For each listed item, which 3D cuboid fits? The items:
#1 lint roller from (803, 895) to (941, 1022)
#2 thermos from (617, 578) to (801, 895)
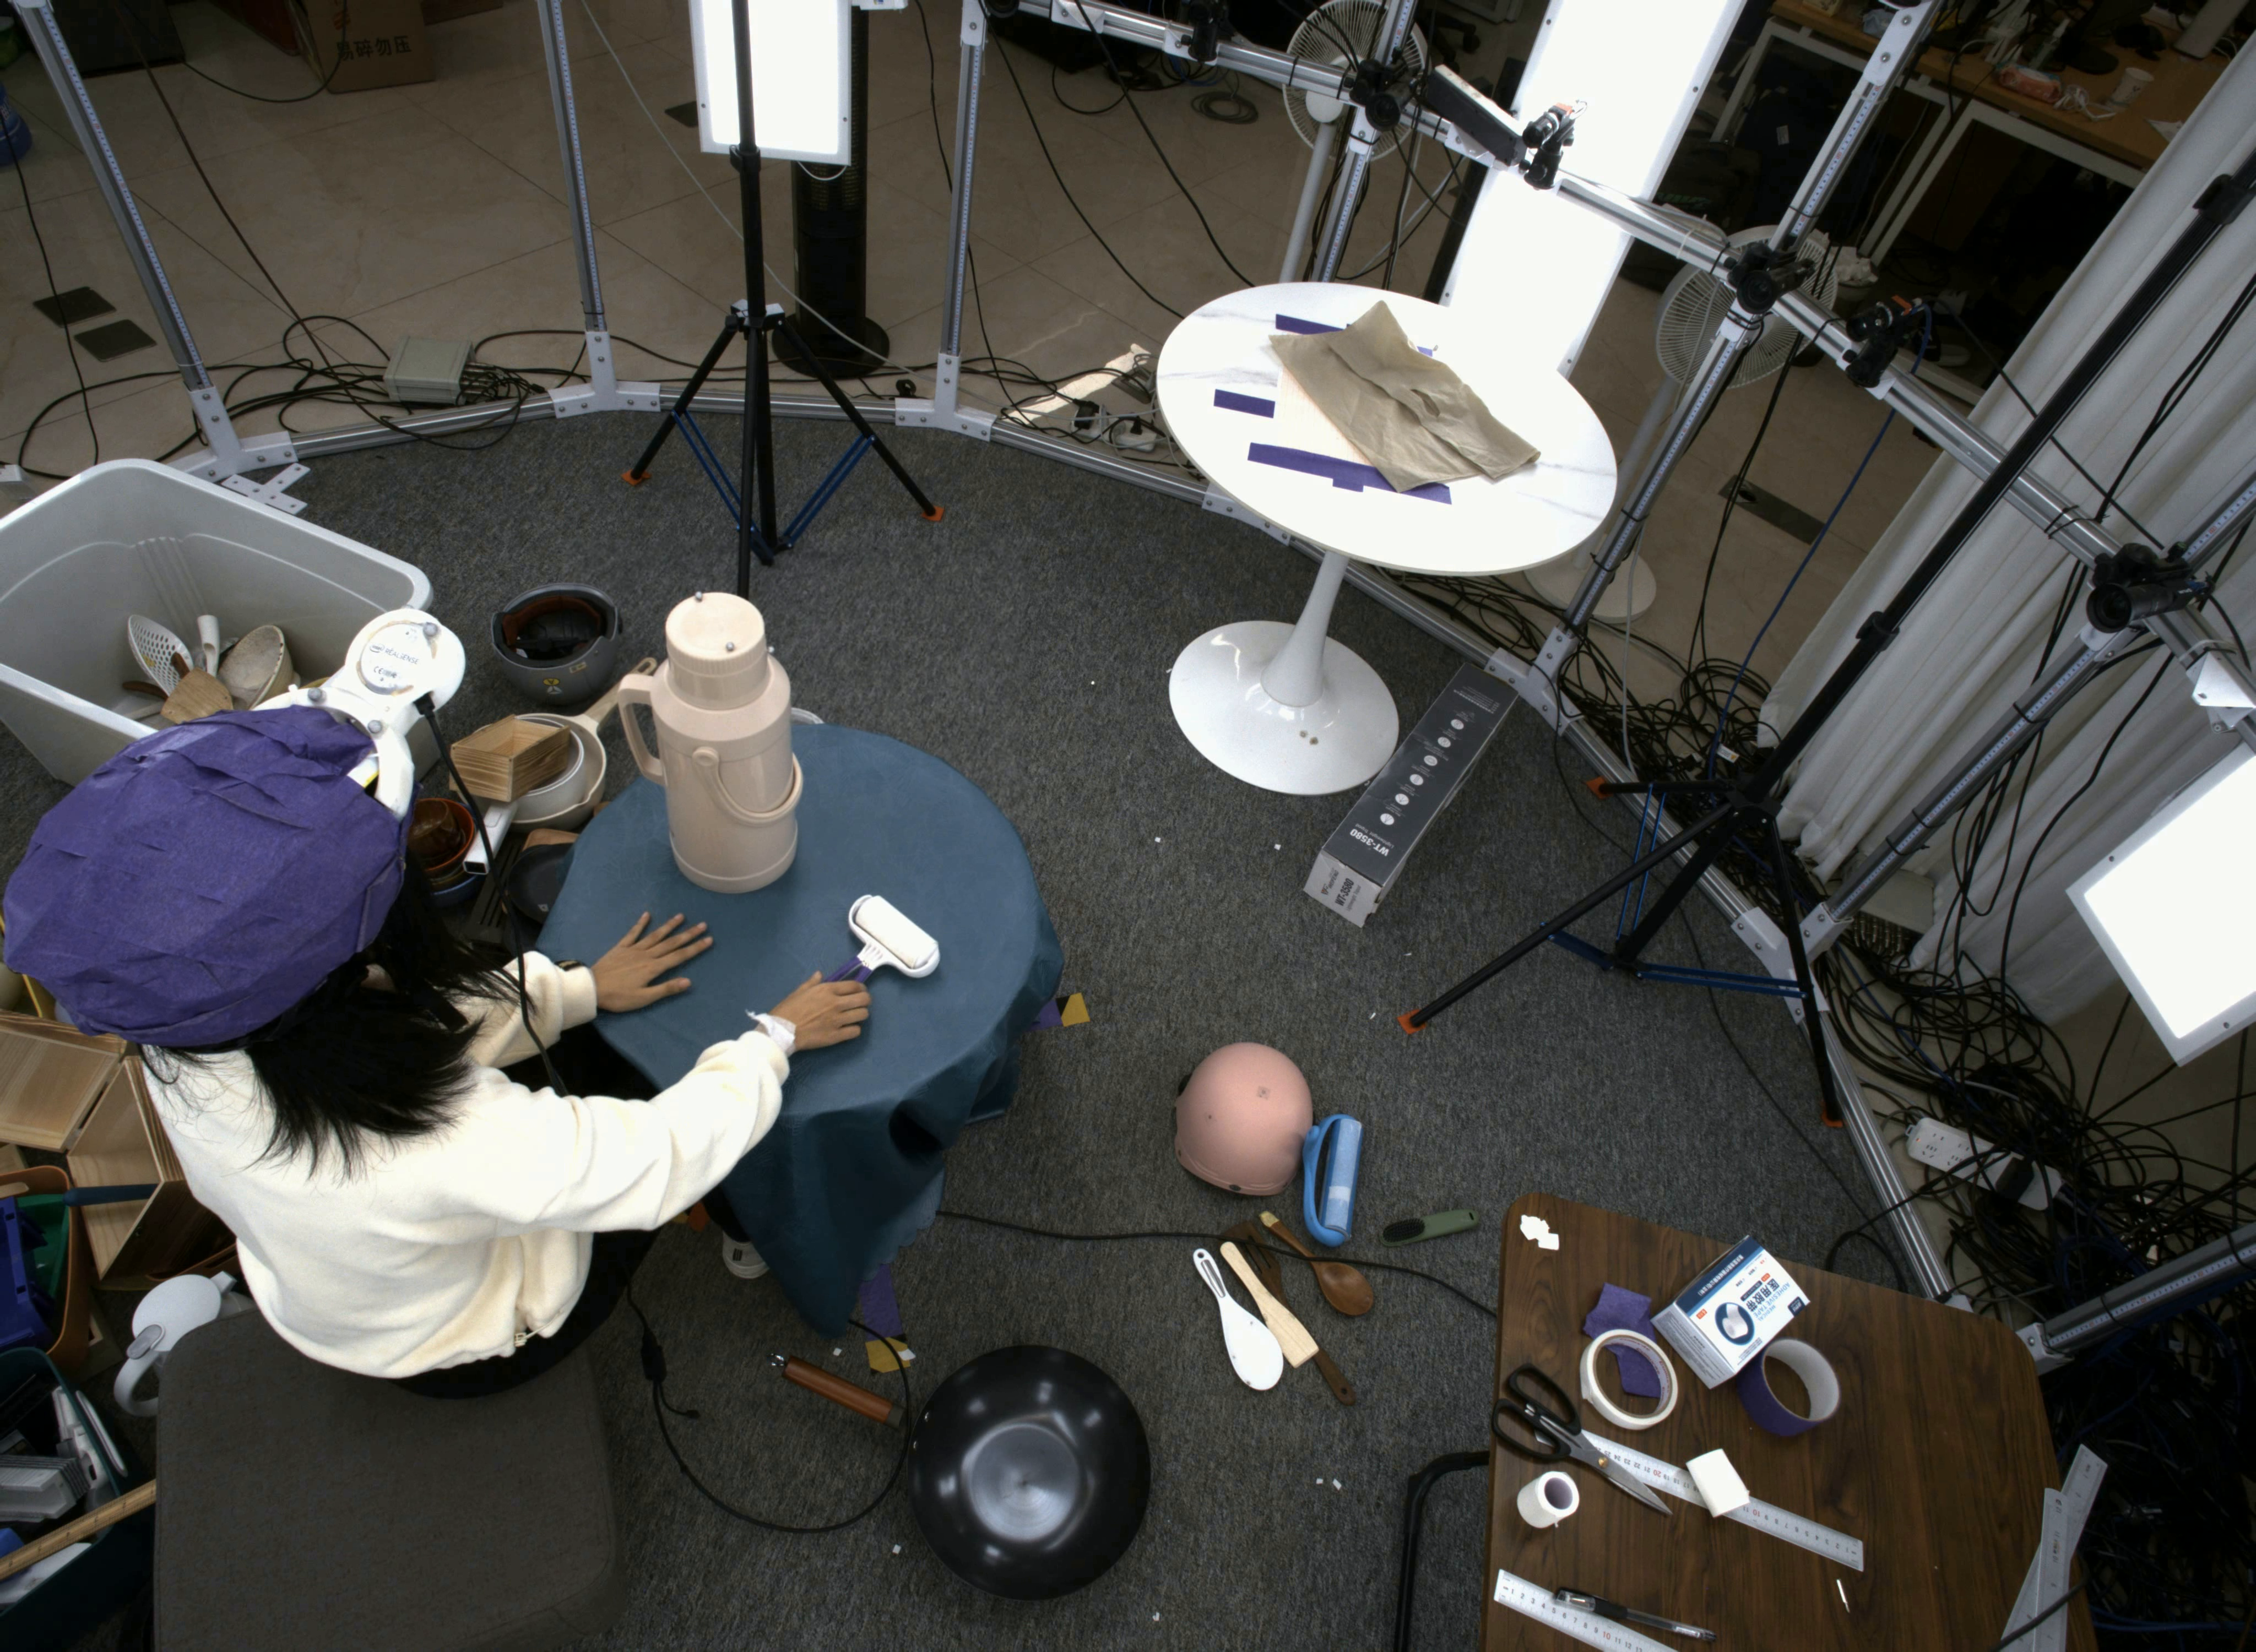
[{"bbox_3d":[-0.330,0.167,1.588,0.130,0.051,0.181,39,52,14],"label":"lint roller"},{"bbox_3d":[-0.493,-0.103,1.522,0.206,0.415,0.172,5,52,-7],"label":"thermos"}]
